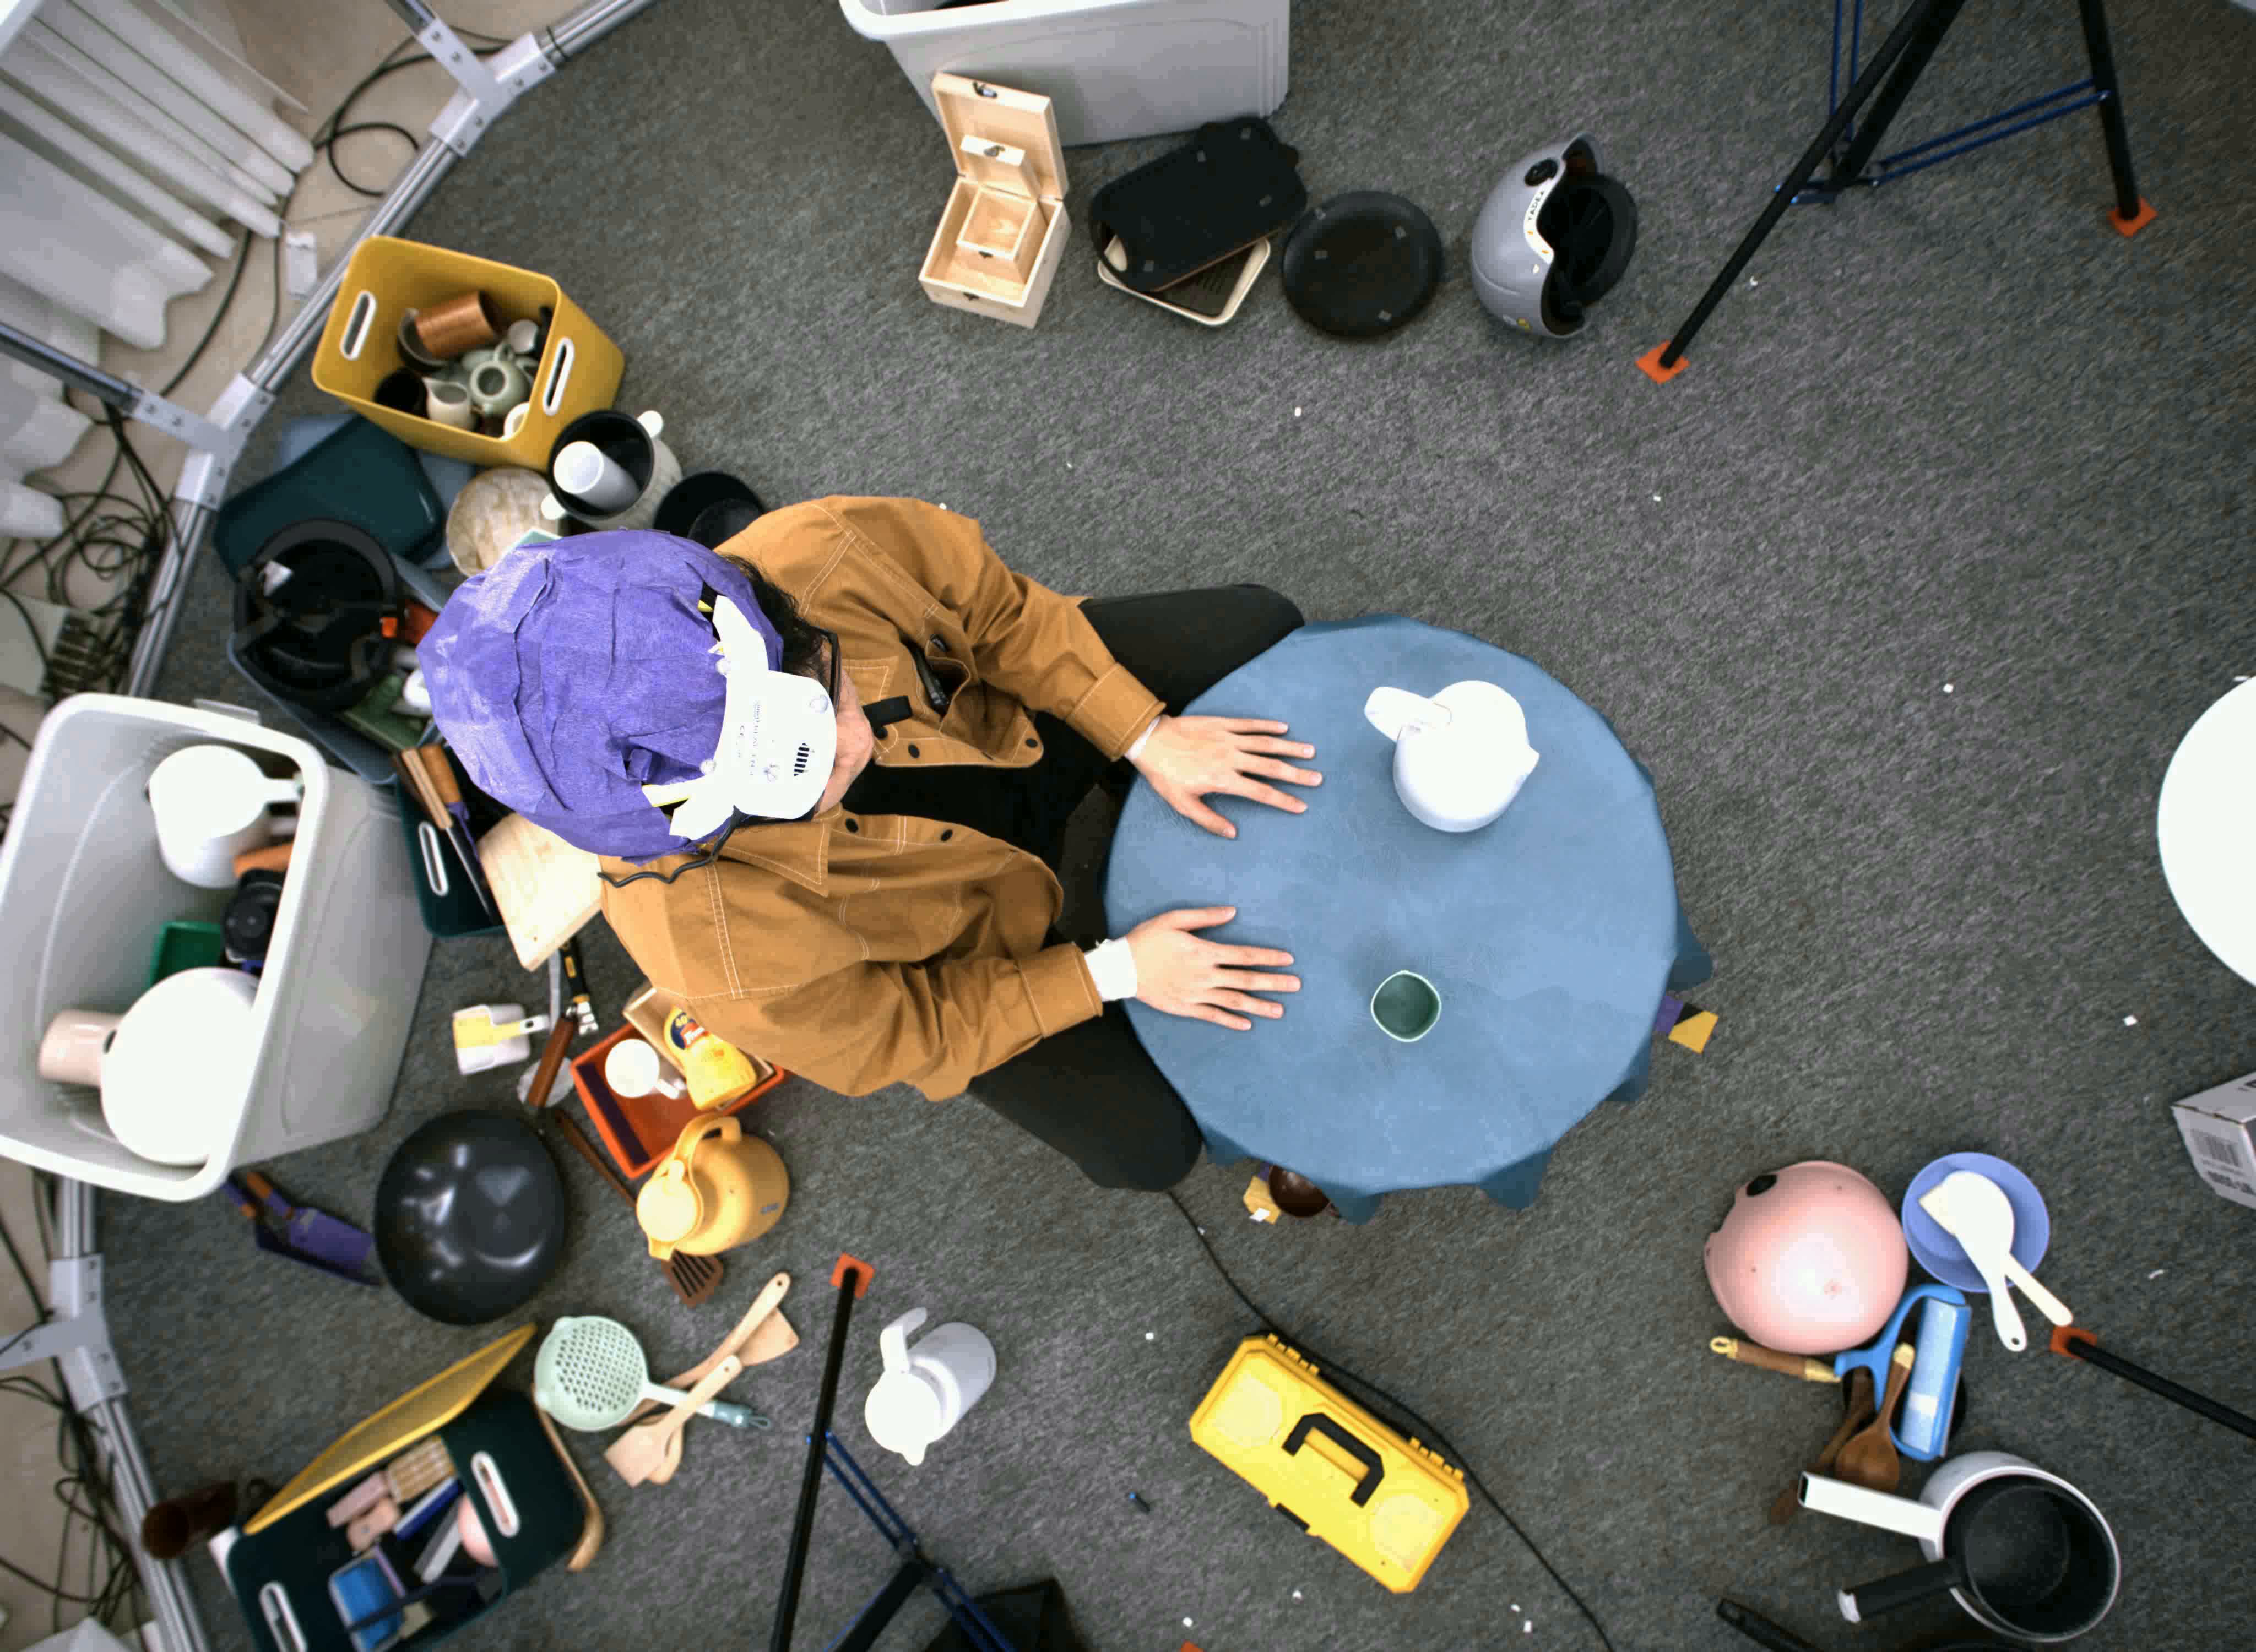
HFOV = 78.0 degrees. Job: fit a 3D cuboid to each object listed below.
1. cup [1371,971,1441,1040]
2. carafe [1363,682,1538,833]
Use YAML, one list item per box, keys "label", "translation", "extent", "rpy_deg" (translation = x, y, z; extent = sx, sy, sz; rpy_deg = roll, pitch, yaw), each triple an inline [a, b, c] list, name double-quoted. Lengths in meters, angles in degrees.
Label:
- label: "cup"
  translation: [0.278, 0.179, 1.392]
  extent: [0.067, 0.132, 0.066]
  rpy_deg: [-1, 84, 10]
- label: "carafe"
  translation: [0.308, -0.080, 1.336]
  extent: [0.167, 0.249, 0.132]
  rpy_deg: [26, 90, 12]
